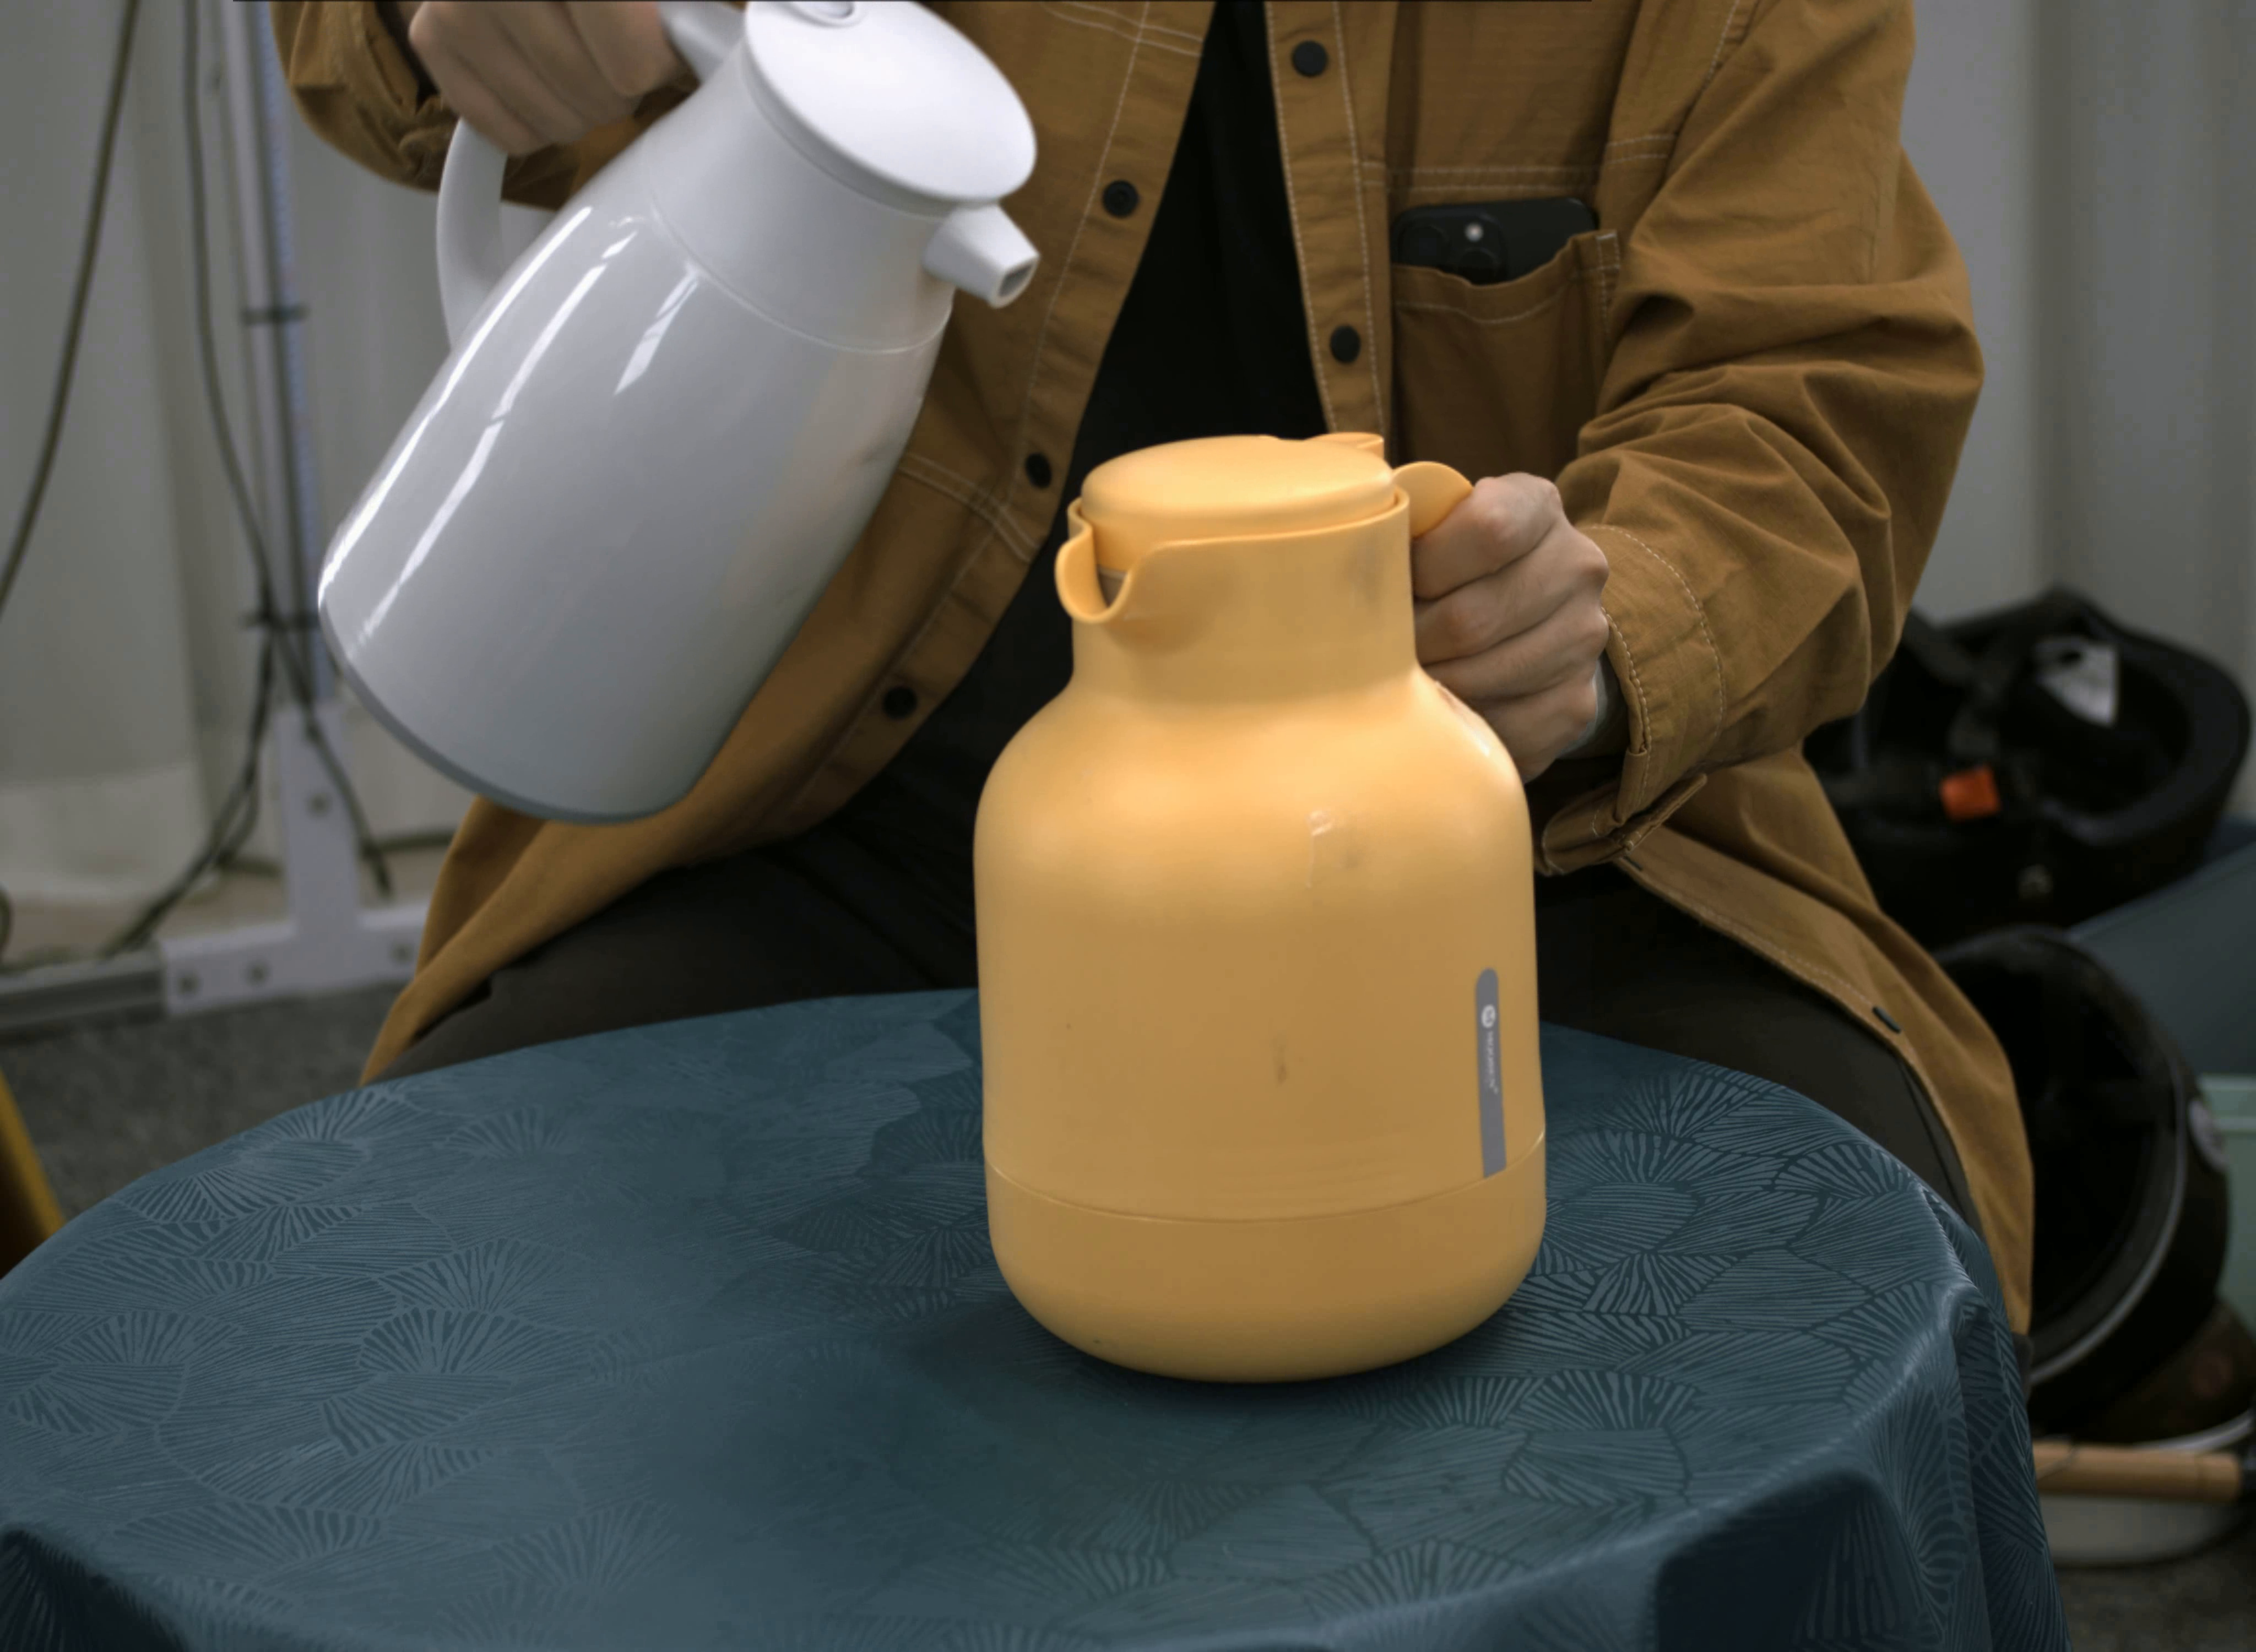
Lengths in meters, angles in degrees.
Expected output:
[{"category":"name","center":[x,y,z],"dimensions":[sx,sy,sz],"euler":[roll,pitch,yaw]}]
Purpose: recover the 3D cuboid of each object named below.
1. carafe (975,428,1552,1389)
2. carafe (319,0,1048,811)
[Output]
[{"category":"carafe","center":[0.050,0.016,1.579],"dimensions":[0.164,0.259,0.202],"euler":[10,20,37]},{"category":"carafe","center":[-0.135,-0.146,1.586],"dimensions":[0.168,0.247,0.133],"euler":[44,34,10]}]
